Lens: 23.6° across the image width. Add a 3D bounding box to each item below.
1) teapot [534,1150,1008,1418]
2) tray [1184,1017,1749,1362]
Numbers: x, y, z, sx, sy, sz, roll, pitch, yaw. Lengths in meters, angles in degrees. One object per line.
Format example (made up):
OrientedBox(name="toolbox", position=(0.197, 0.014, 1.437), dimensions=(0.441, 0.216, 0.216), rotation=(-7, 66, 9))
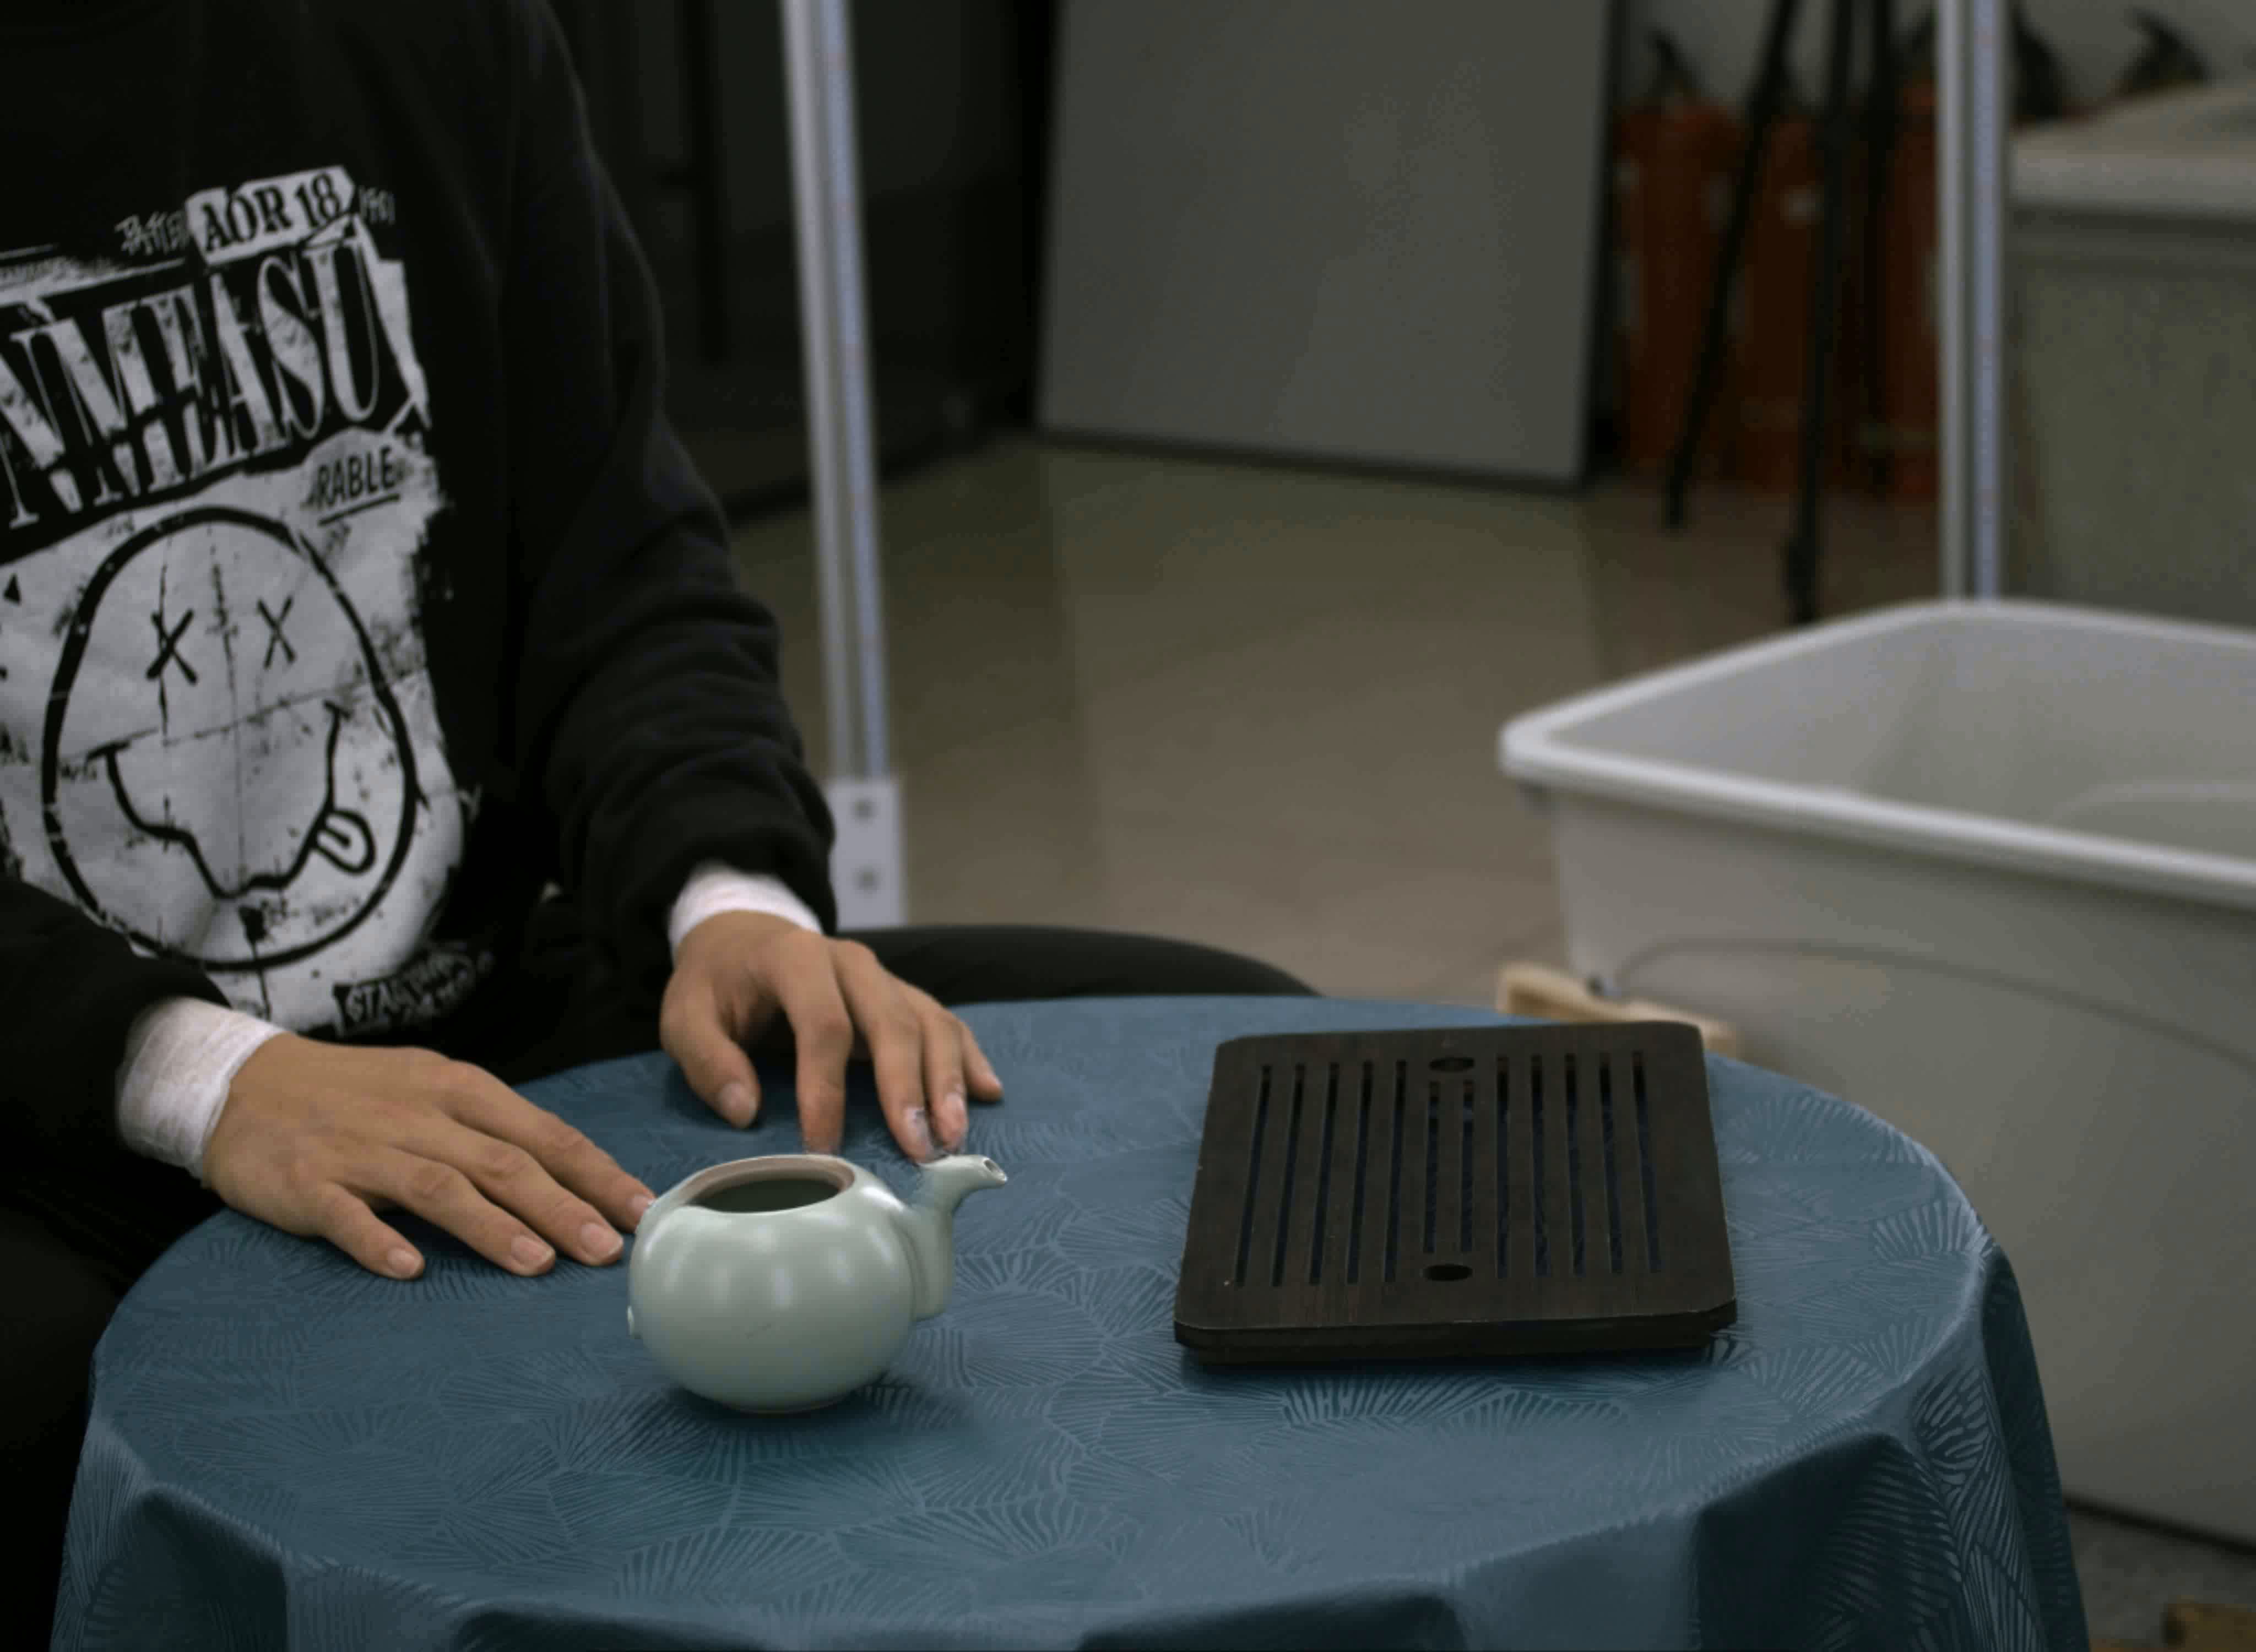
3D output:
OrientedBox(name="teapot", position=(-0.104, 0.134, 1.602), dimensions=(0.142, 0.075, 0.088), rotation=(-1, 14, 7))
OrientedBox(name="tray", position=(0.110, 0.114, 1.729), dimensions=(0.168, 0.019, 0.305), rotation=(-3, 14, 5))
